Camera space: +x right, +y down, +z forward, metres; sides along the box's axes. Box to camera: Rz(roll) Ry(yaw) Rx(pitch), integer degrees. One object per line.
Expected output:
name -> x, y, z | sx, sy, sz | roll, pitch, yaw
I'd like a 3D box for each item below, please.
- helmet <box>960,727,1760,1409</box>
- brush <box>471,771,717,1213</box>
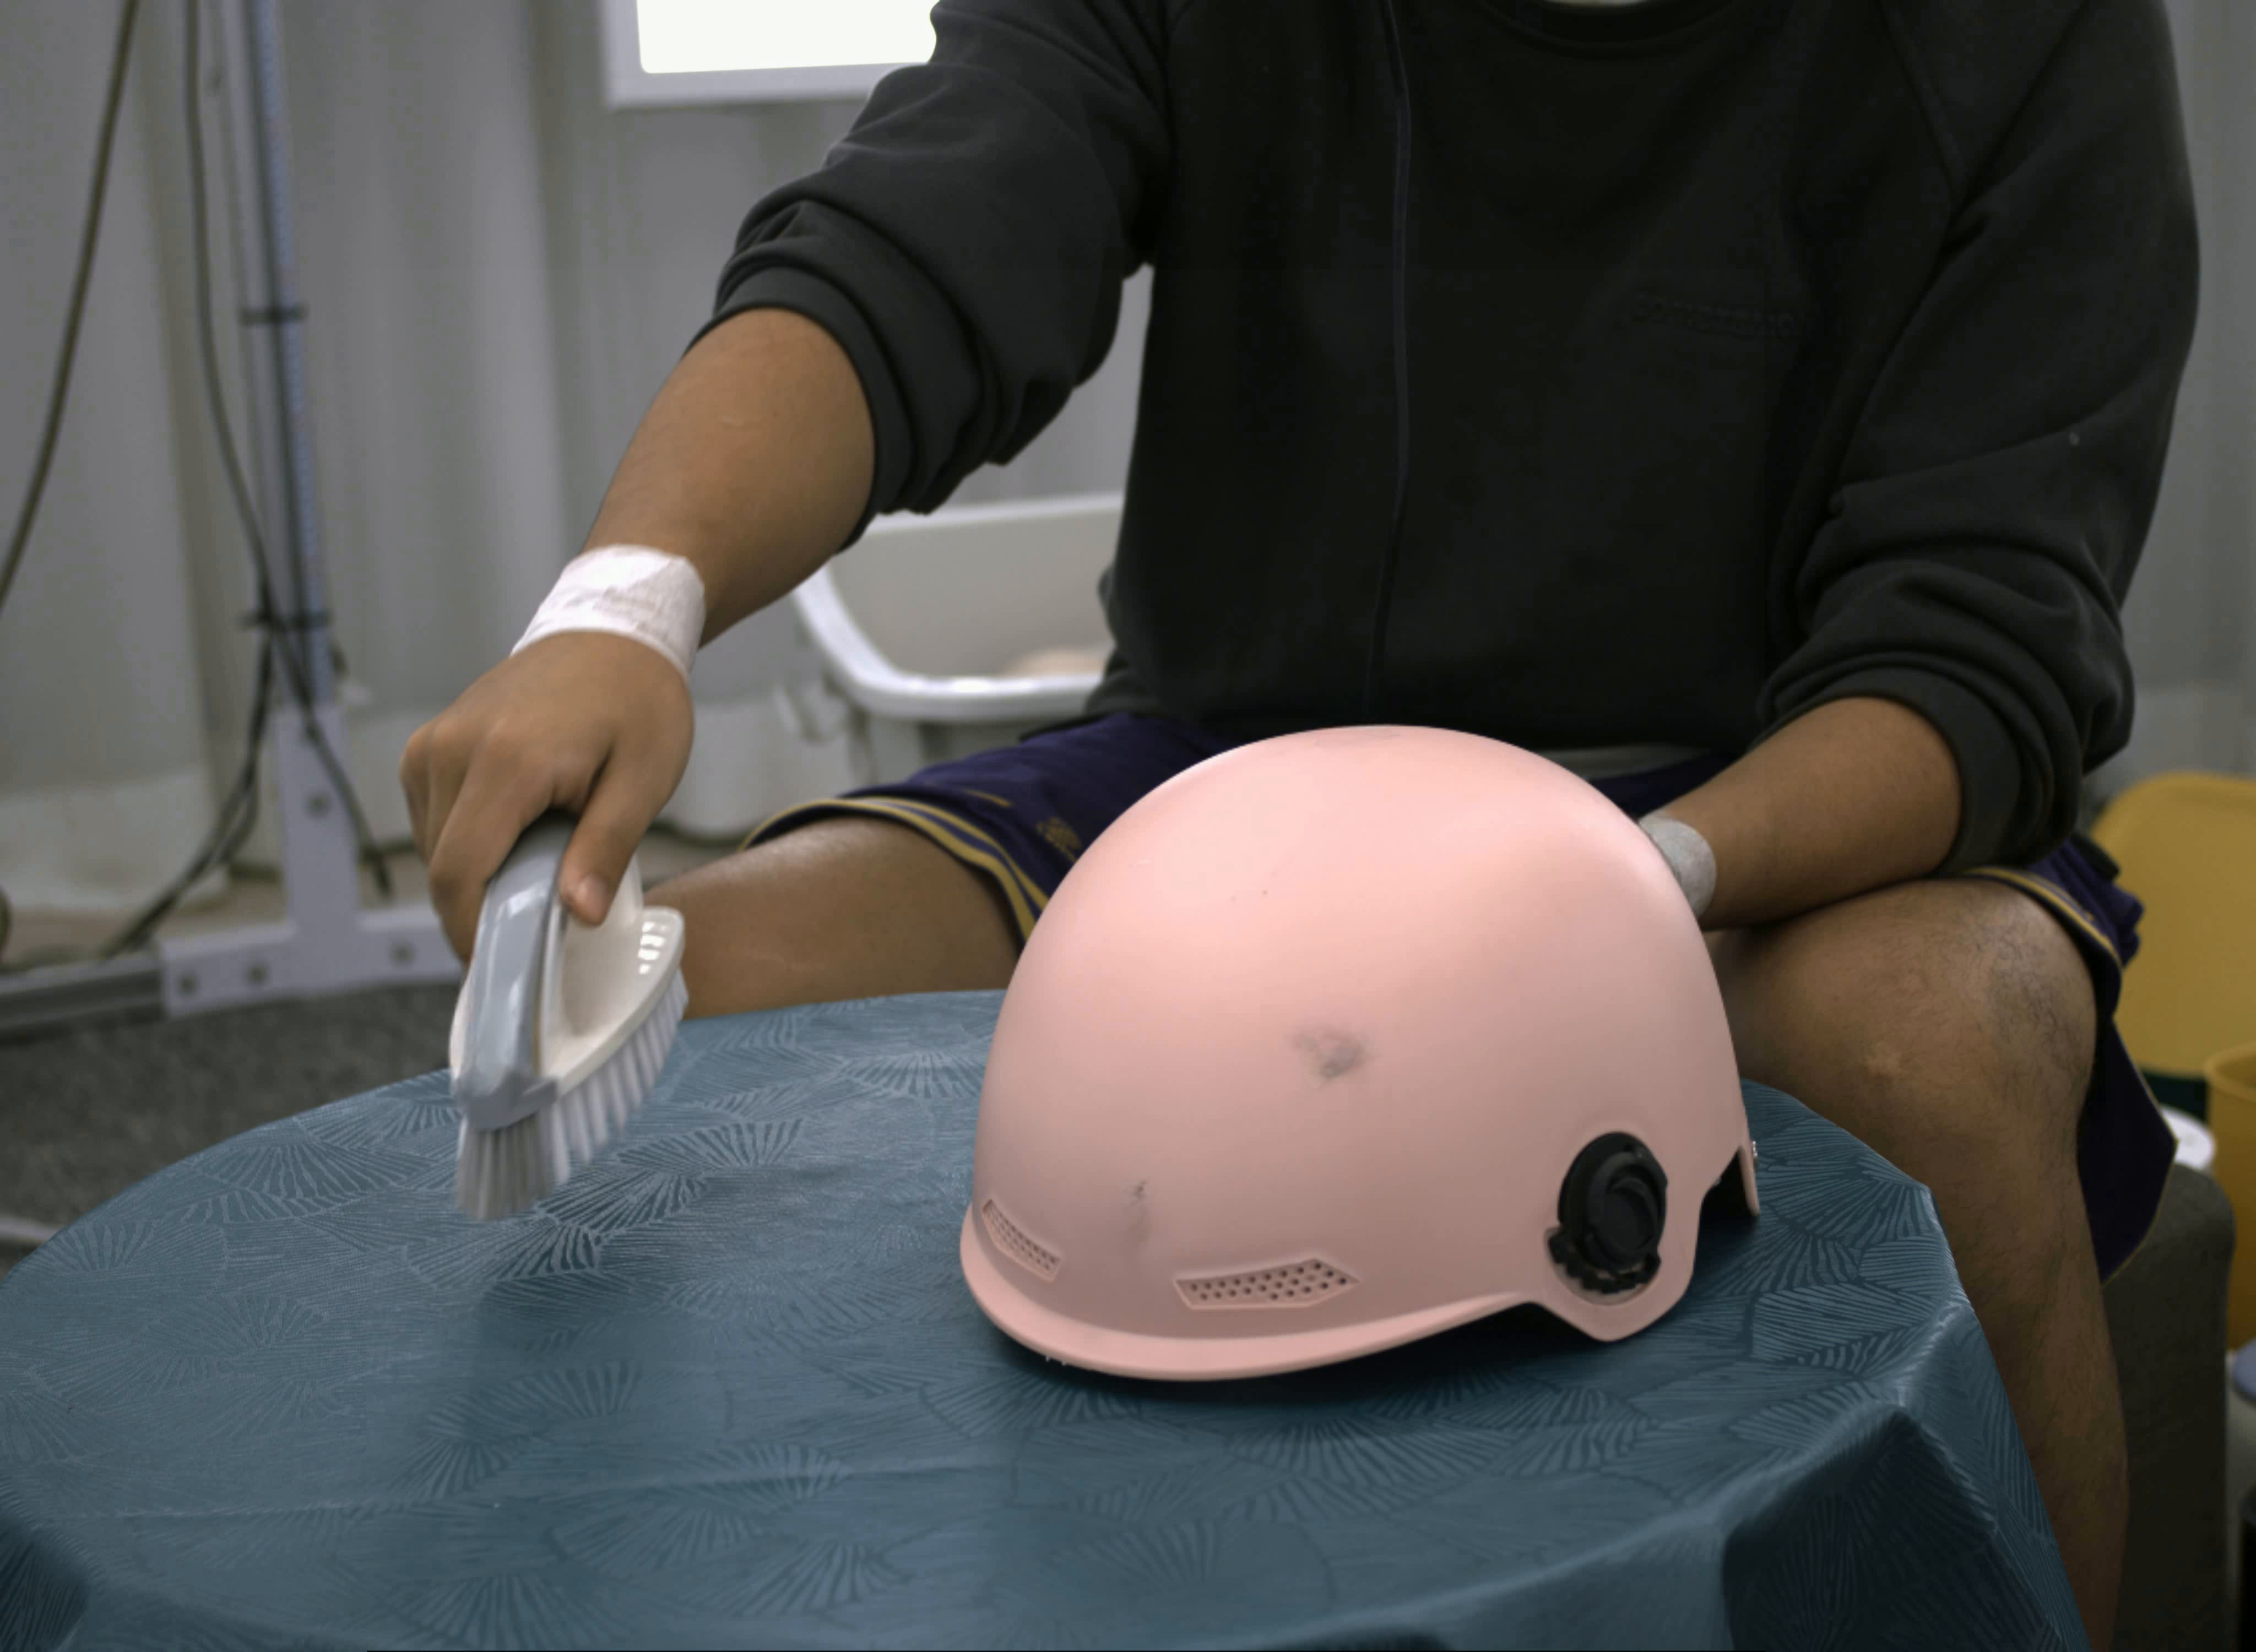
helmet -> 0.064, 0.058, 1.626 | 0.235, 0.158, 0.266 | 8, 22, 34
brush -> -0.172, 0.044, 1.682 | 0.061, 0.093, 0.177 | 0, 23, 10
